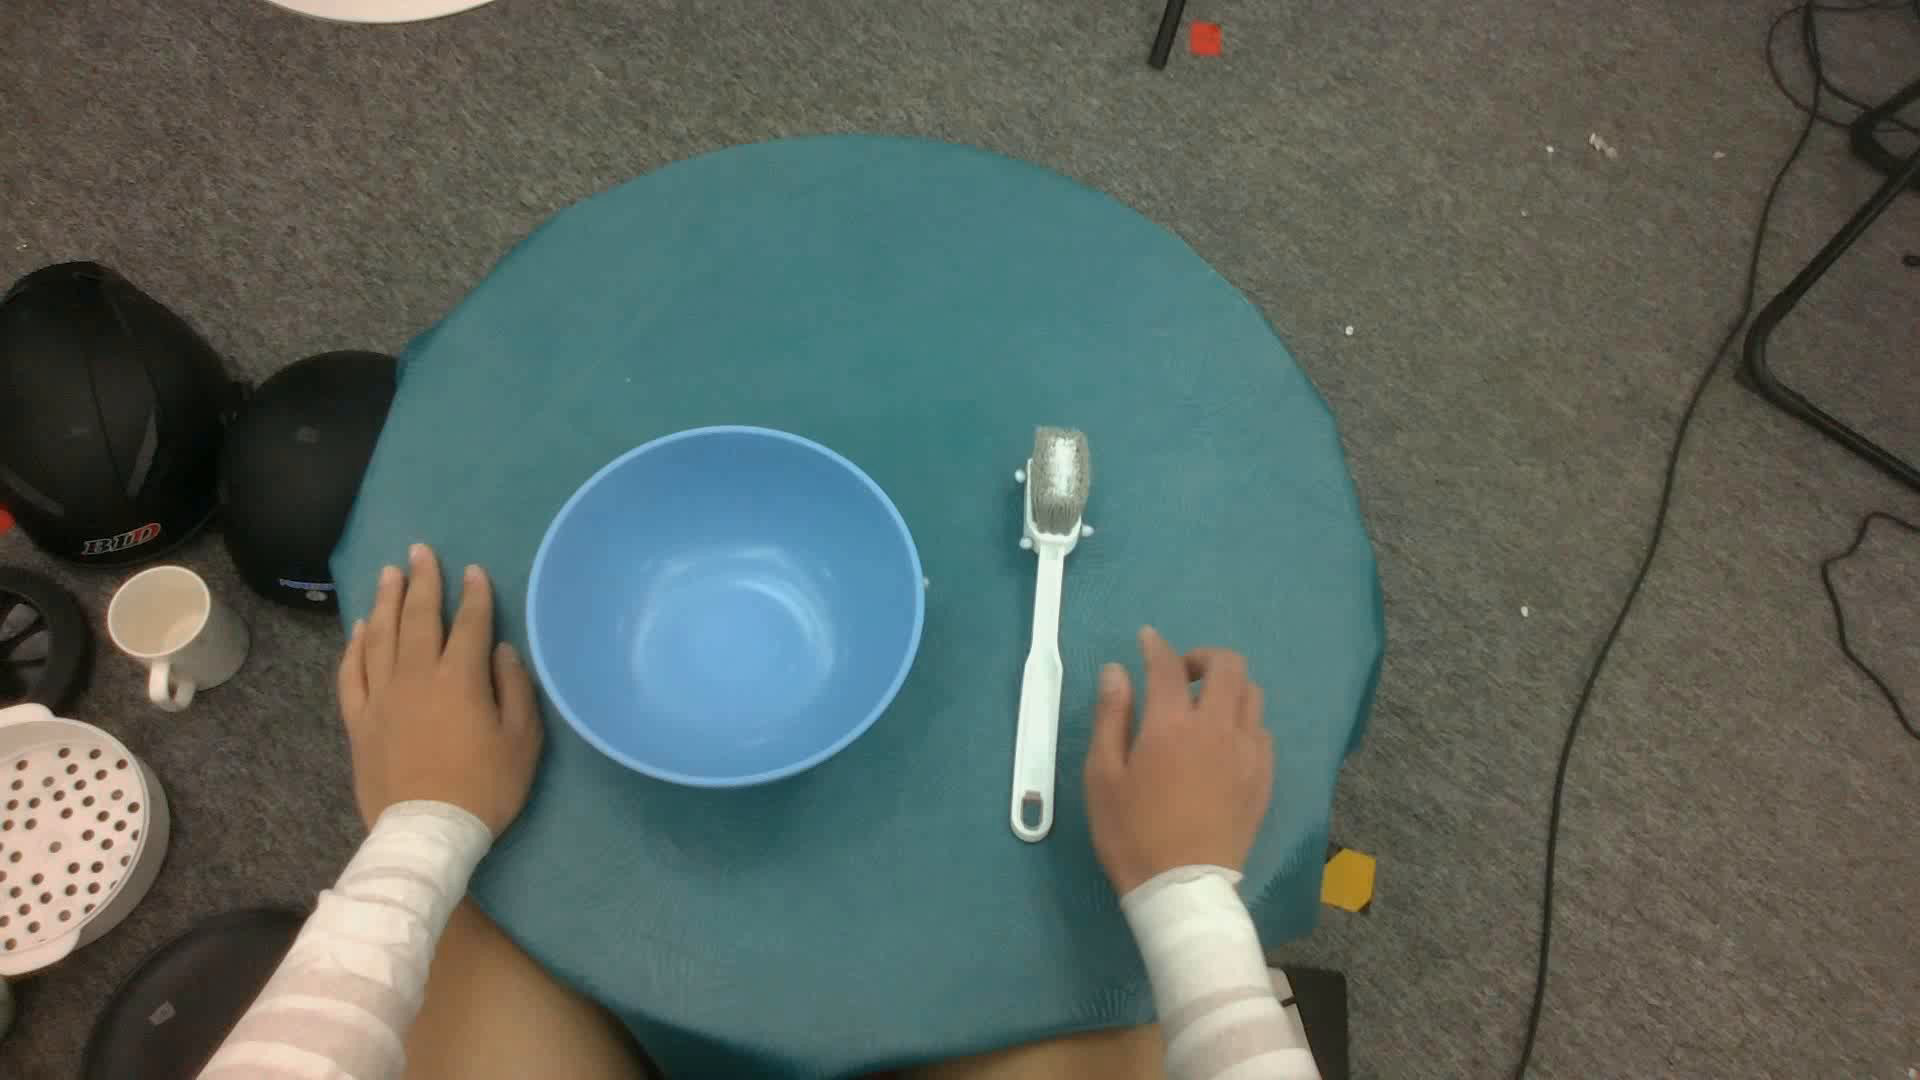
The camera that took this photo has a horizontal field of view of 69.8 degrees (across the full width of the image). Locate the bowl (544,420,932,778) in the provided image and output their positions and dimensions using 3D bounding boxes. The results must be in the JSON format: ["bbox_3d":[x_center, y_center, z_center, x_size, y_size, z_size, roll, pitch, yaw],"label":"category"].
[{"bbox_3d":[-0.117,0.043,0.746,0.196,0.095,0.197,3,64,-6],"label":"bowl"}]

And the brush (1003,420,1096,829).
[{"bbox_3d":[0.051,0.041,0.790,0.034,0.050,0.244,10,65,-4],"label":"brush"}]
